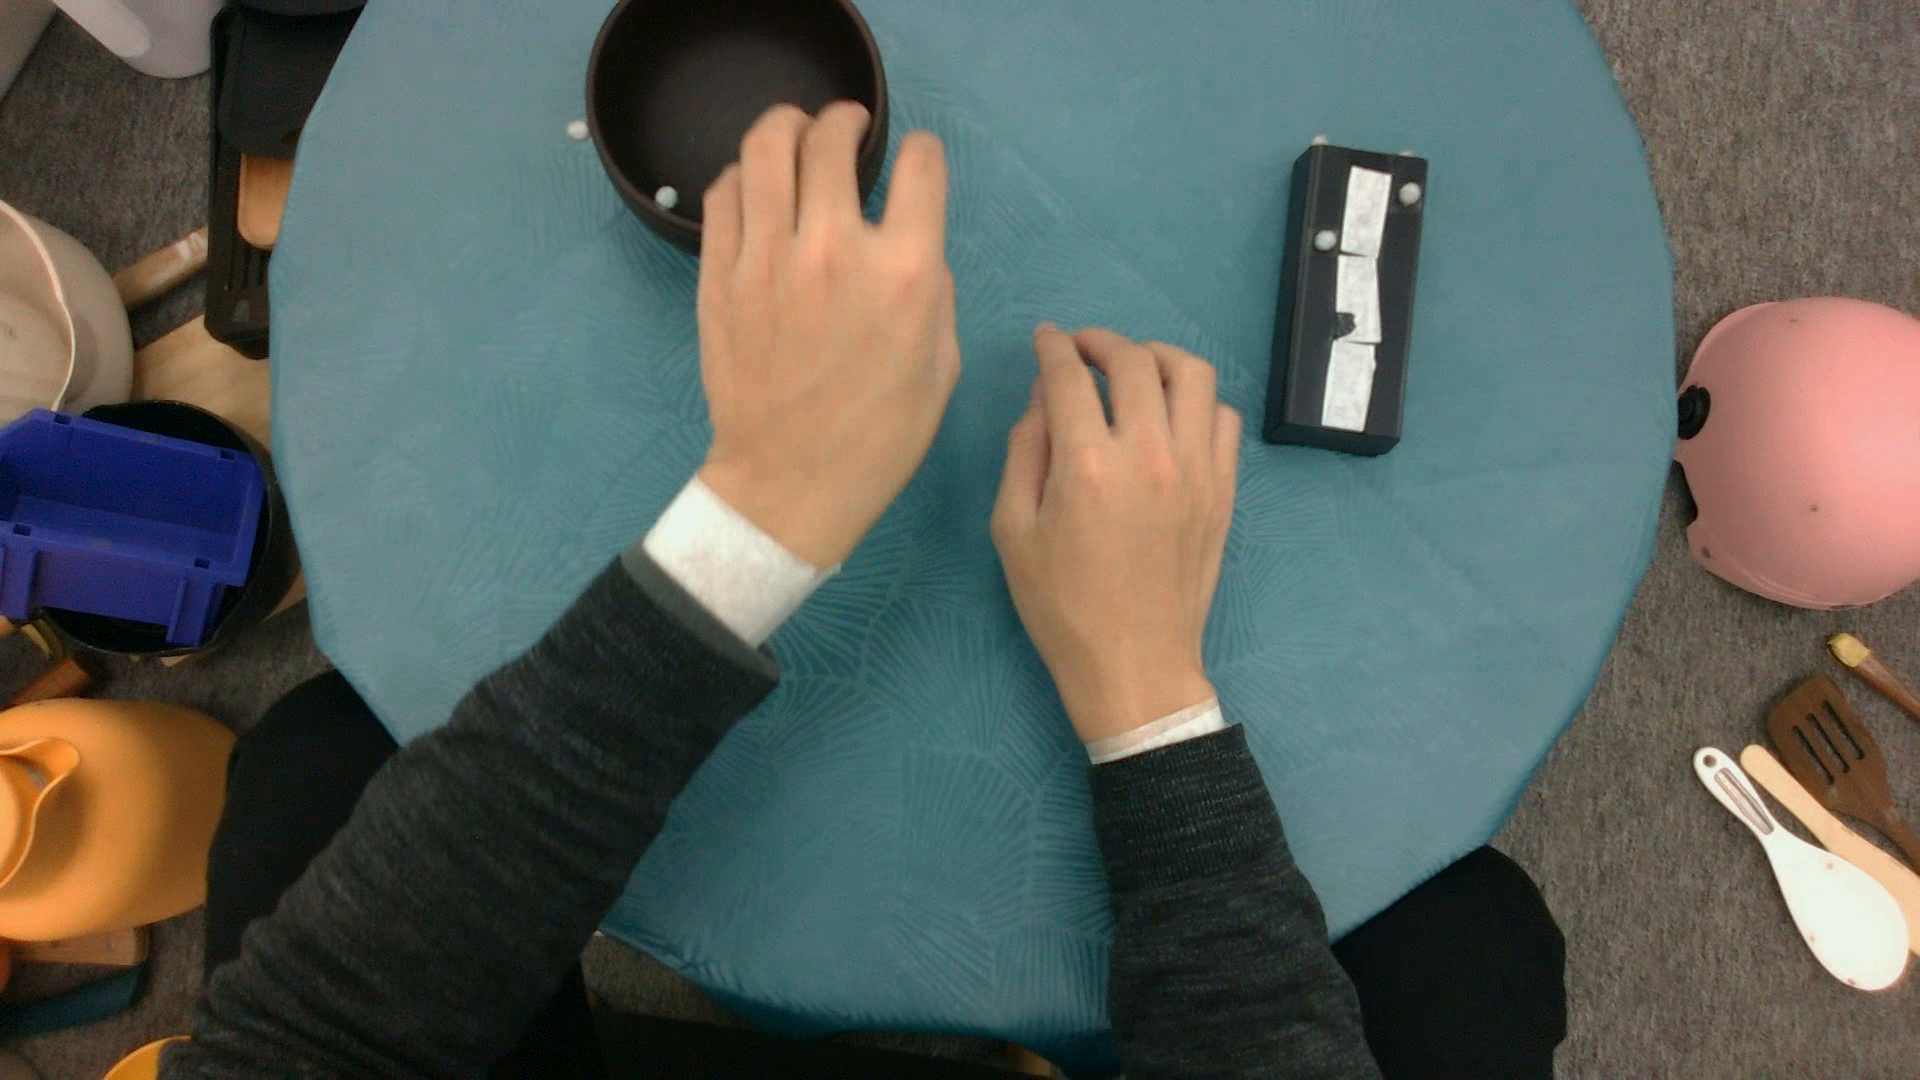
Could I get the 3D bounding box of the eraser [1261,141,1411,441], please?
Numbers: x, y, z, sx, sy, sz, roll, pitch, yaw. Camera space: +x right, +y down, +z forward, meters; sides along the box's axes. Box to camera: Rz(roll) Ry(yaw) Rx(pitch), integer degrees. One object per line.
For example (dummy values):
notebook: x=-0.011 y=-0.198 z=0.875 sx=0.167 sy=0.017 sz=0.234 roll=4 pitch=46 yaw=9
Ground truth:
eraser: x=0.159 y=-0.106 z=0.584 sx=0.053 sy=0.030 sz=0.125 roll=6 pitch=82 yaw=1

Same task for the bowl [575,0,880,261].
bowl: x=-0.092 y=-0.169 z=0.560 sx=0.118 sy=0.070 sz=0.118 roll=1 pitch=82 yaw=-5
